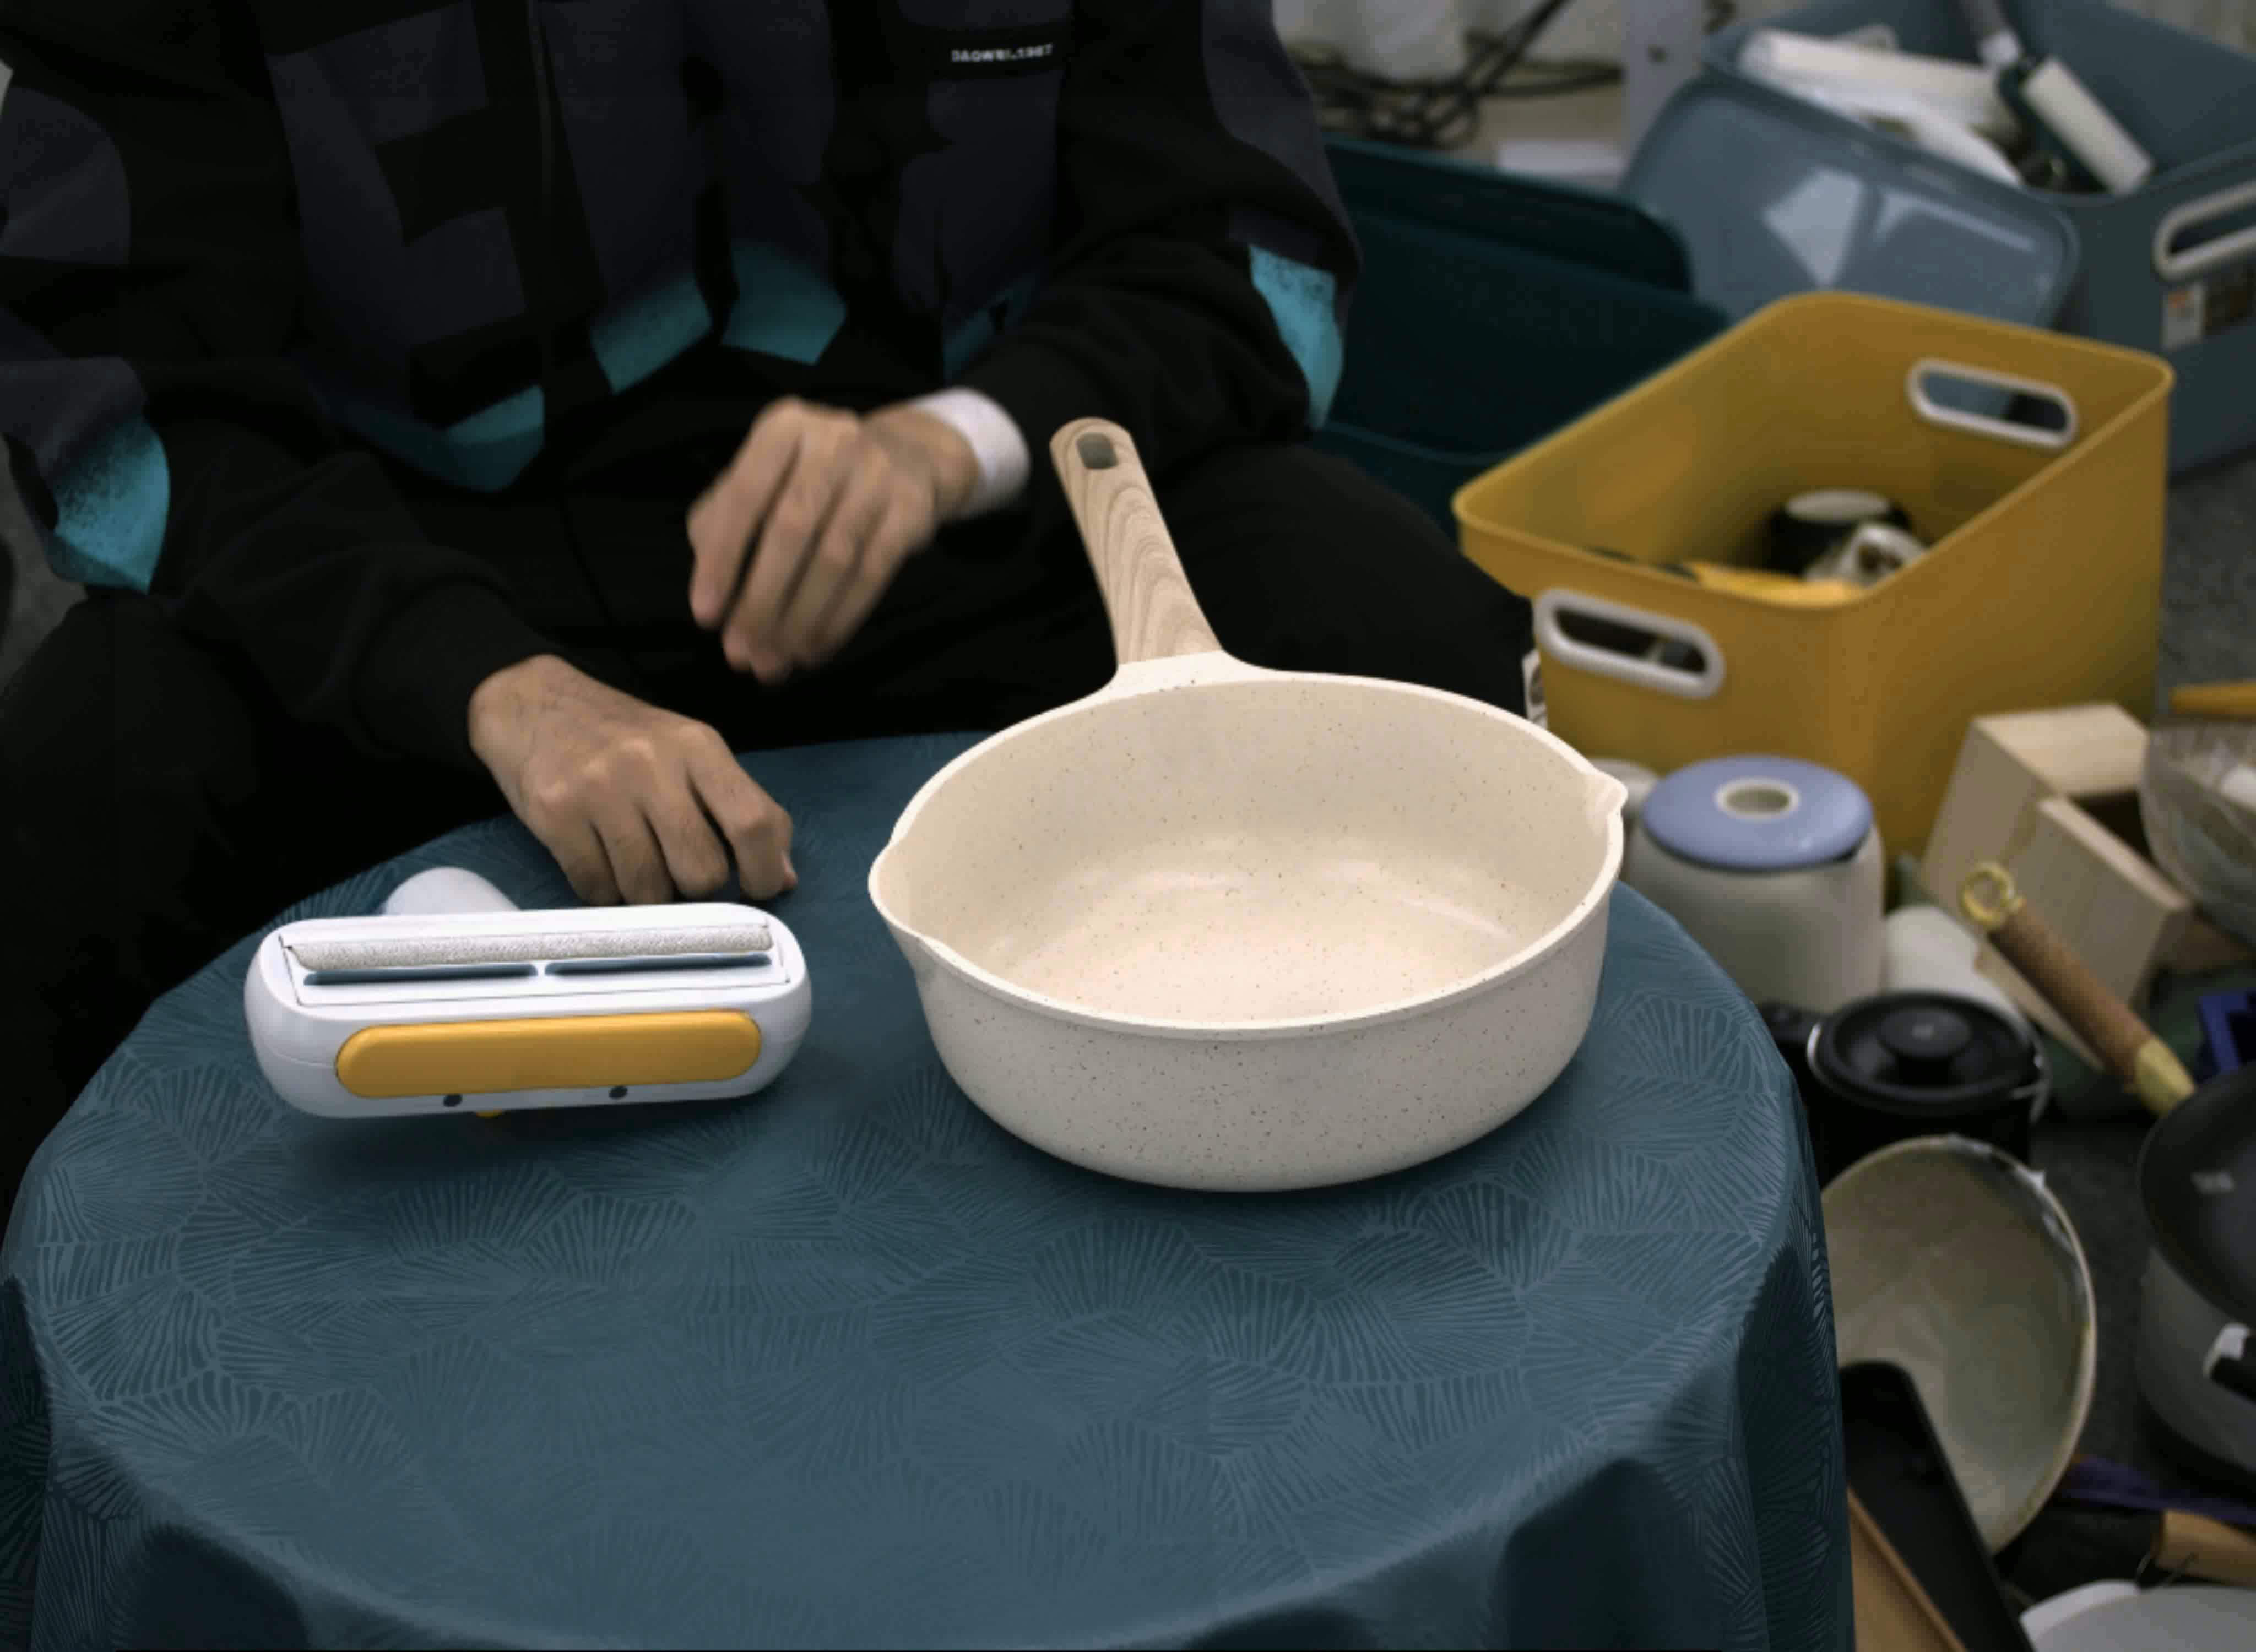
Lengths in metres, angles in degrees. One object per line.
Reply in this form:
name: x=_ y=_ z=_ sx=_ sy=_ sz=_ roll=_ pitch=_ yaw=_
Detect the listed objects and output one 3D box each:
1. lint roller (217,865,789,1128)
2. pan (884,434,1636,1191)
lint roller: x=-0.225 y=0.046 z=1.956 sx=0.193 sy=0.073 sz=0.194 roll=-4 pitch=25 yaw=-14
pan: x=0.030 y=-0.009 z=2.001 sx=0.263 sy=0.101 sz=0.440 roll=-10 pitch=28 yaw=-8
